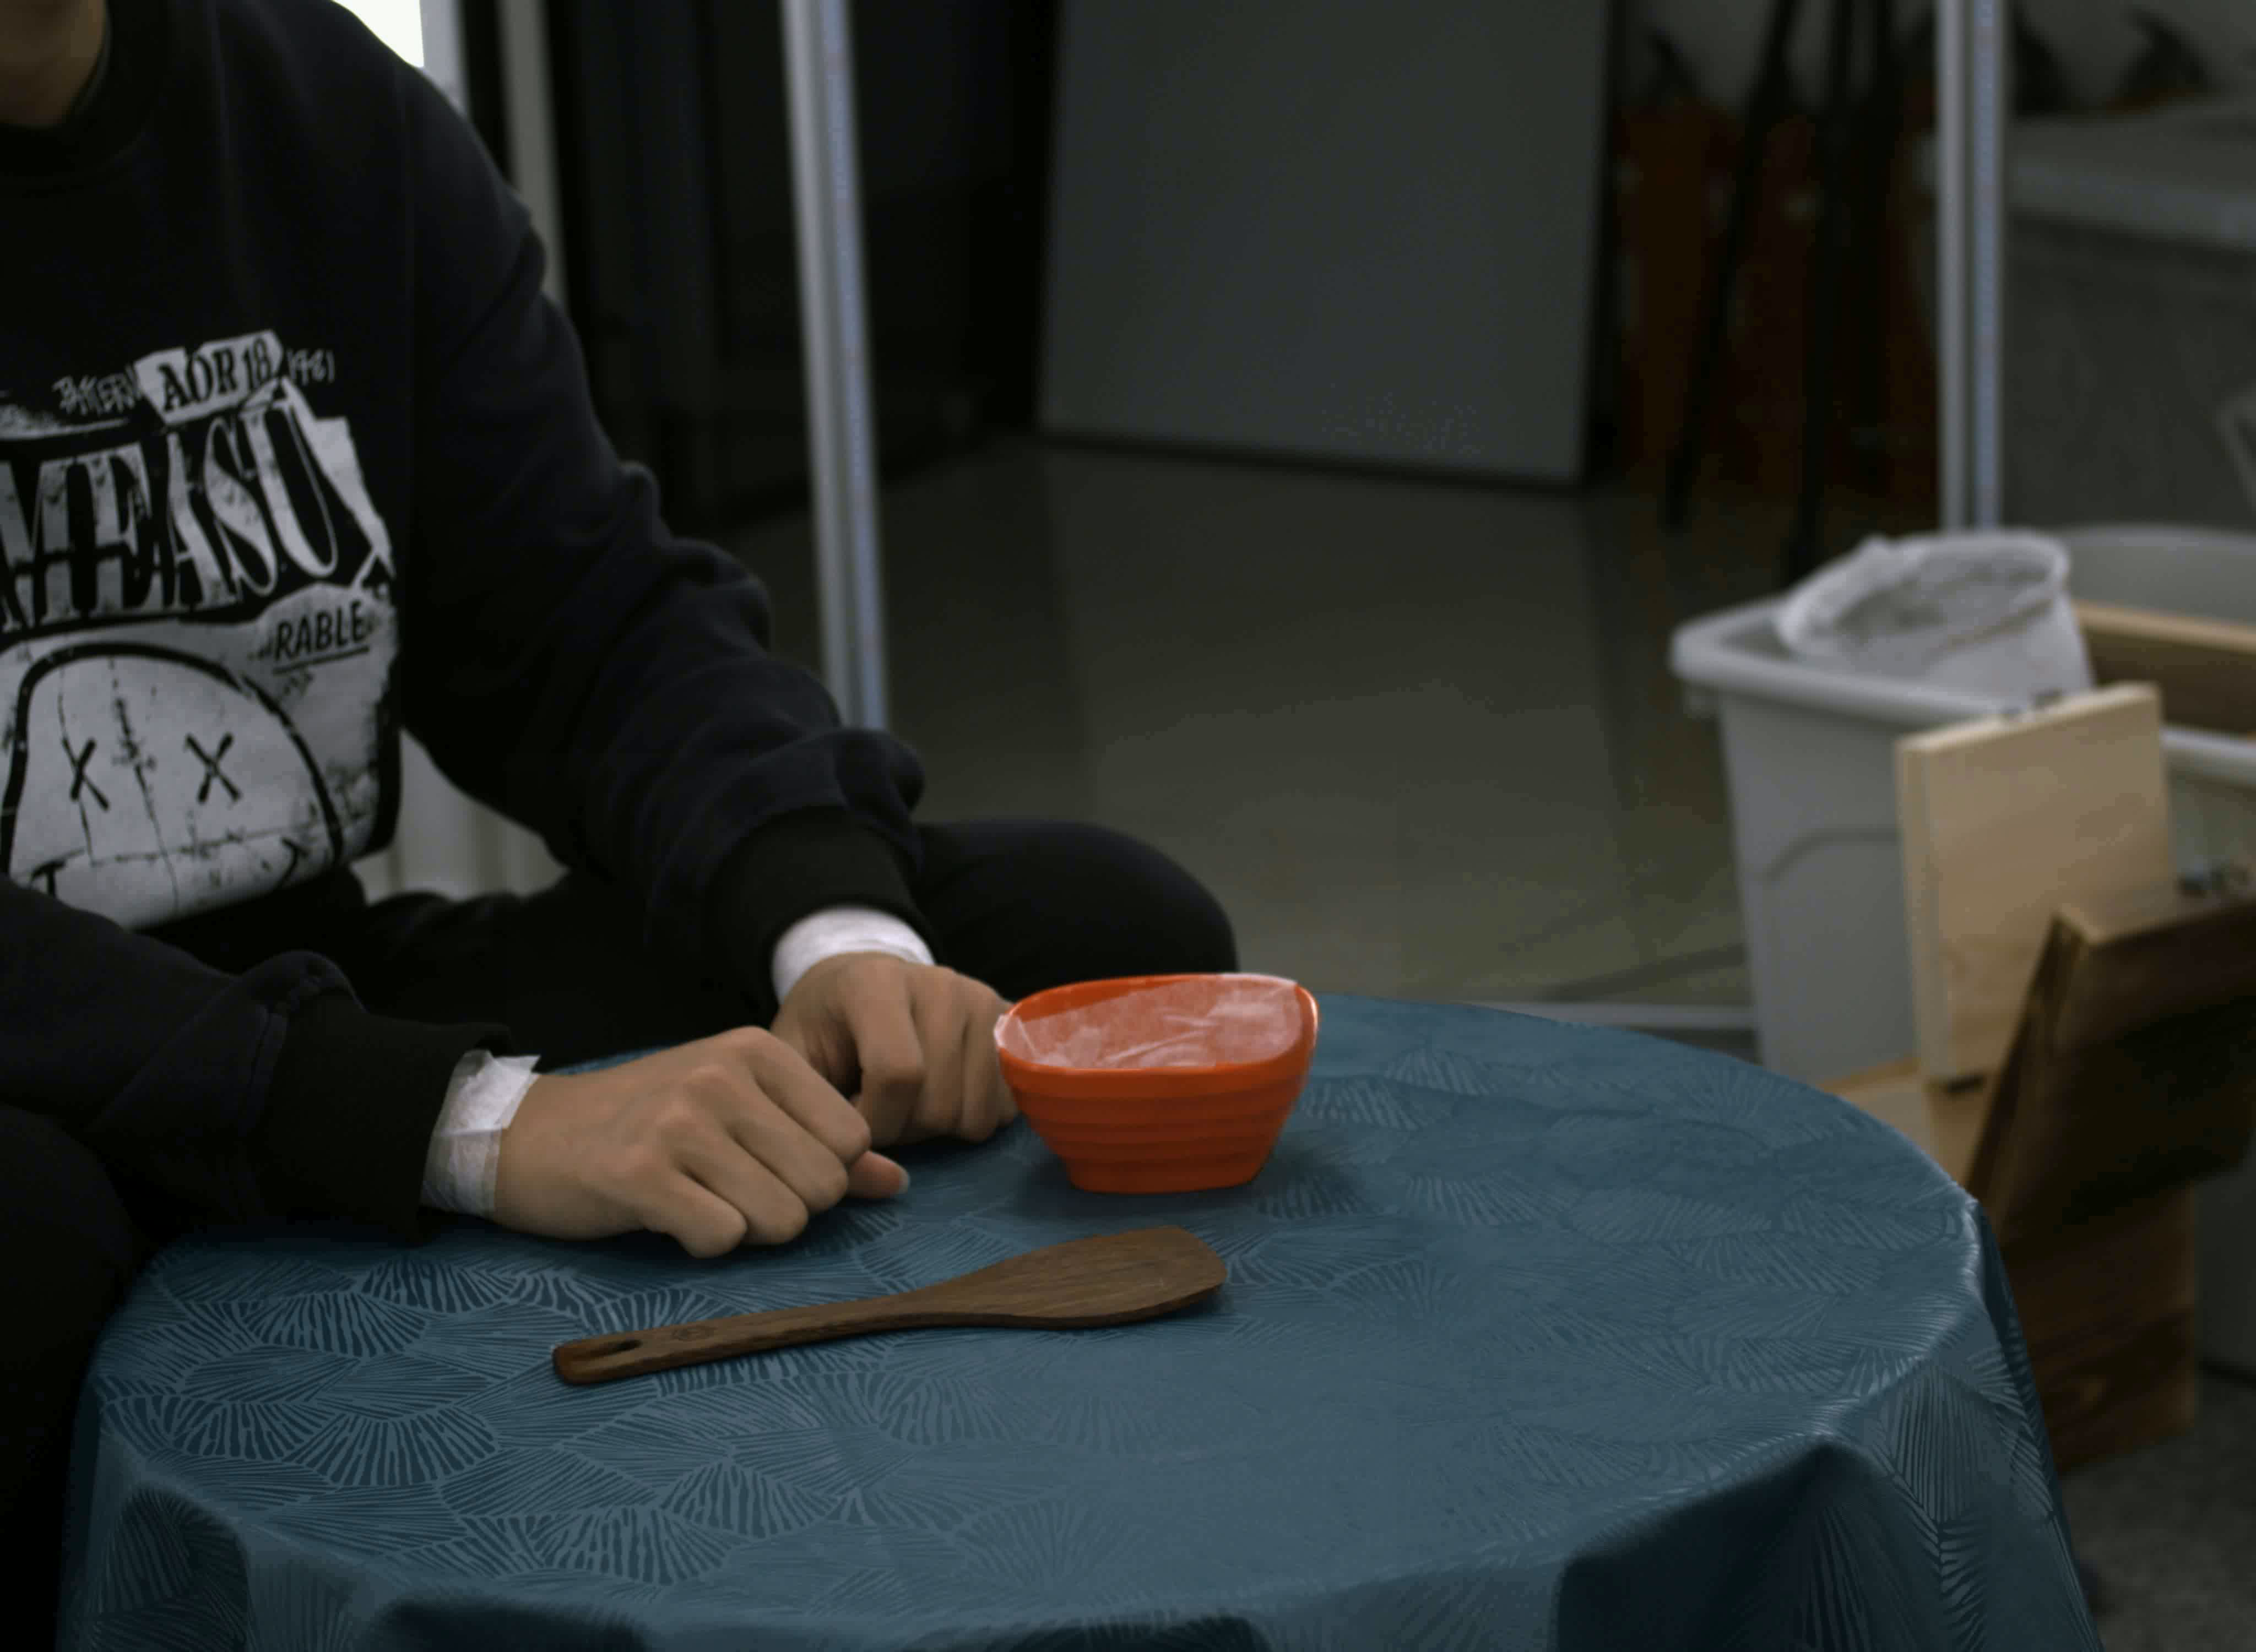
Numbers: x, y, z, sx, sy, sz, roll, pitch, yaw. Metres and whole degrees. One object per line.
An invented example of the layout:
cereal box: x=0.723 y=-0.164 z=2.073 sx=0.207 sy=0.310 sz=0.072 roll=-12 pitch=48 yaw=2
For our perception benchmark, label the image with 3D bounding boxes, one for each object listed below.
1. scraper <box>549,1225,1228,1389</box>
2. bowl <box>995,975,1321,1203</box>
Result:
scraper: x=-0.074 y=0.151 z=1.657 sx=0.207 sy=0.011 sz=0.076 roll=-8 pitch=13 yaw=-14
bowl: x=0.011 y=0.090 z=1.793 sx=0.117 sy=0.052 sz=0.119 roll=-4 pitch=15 yaw=0
